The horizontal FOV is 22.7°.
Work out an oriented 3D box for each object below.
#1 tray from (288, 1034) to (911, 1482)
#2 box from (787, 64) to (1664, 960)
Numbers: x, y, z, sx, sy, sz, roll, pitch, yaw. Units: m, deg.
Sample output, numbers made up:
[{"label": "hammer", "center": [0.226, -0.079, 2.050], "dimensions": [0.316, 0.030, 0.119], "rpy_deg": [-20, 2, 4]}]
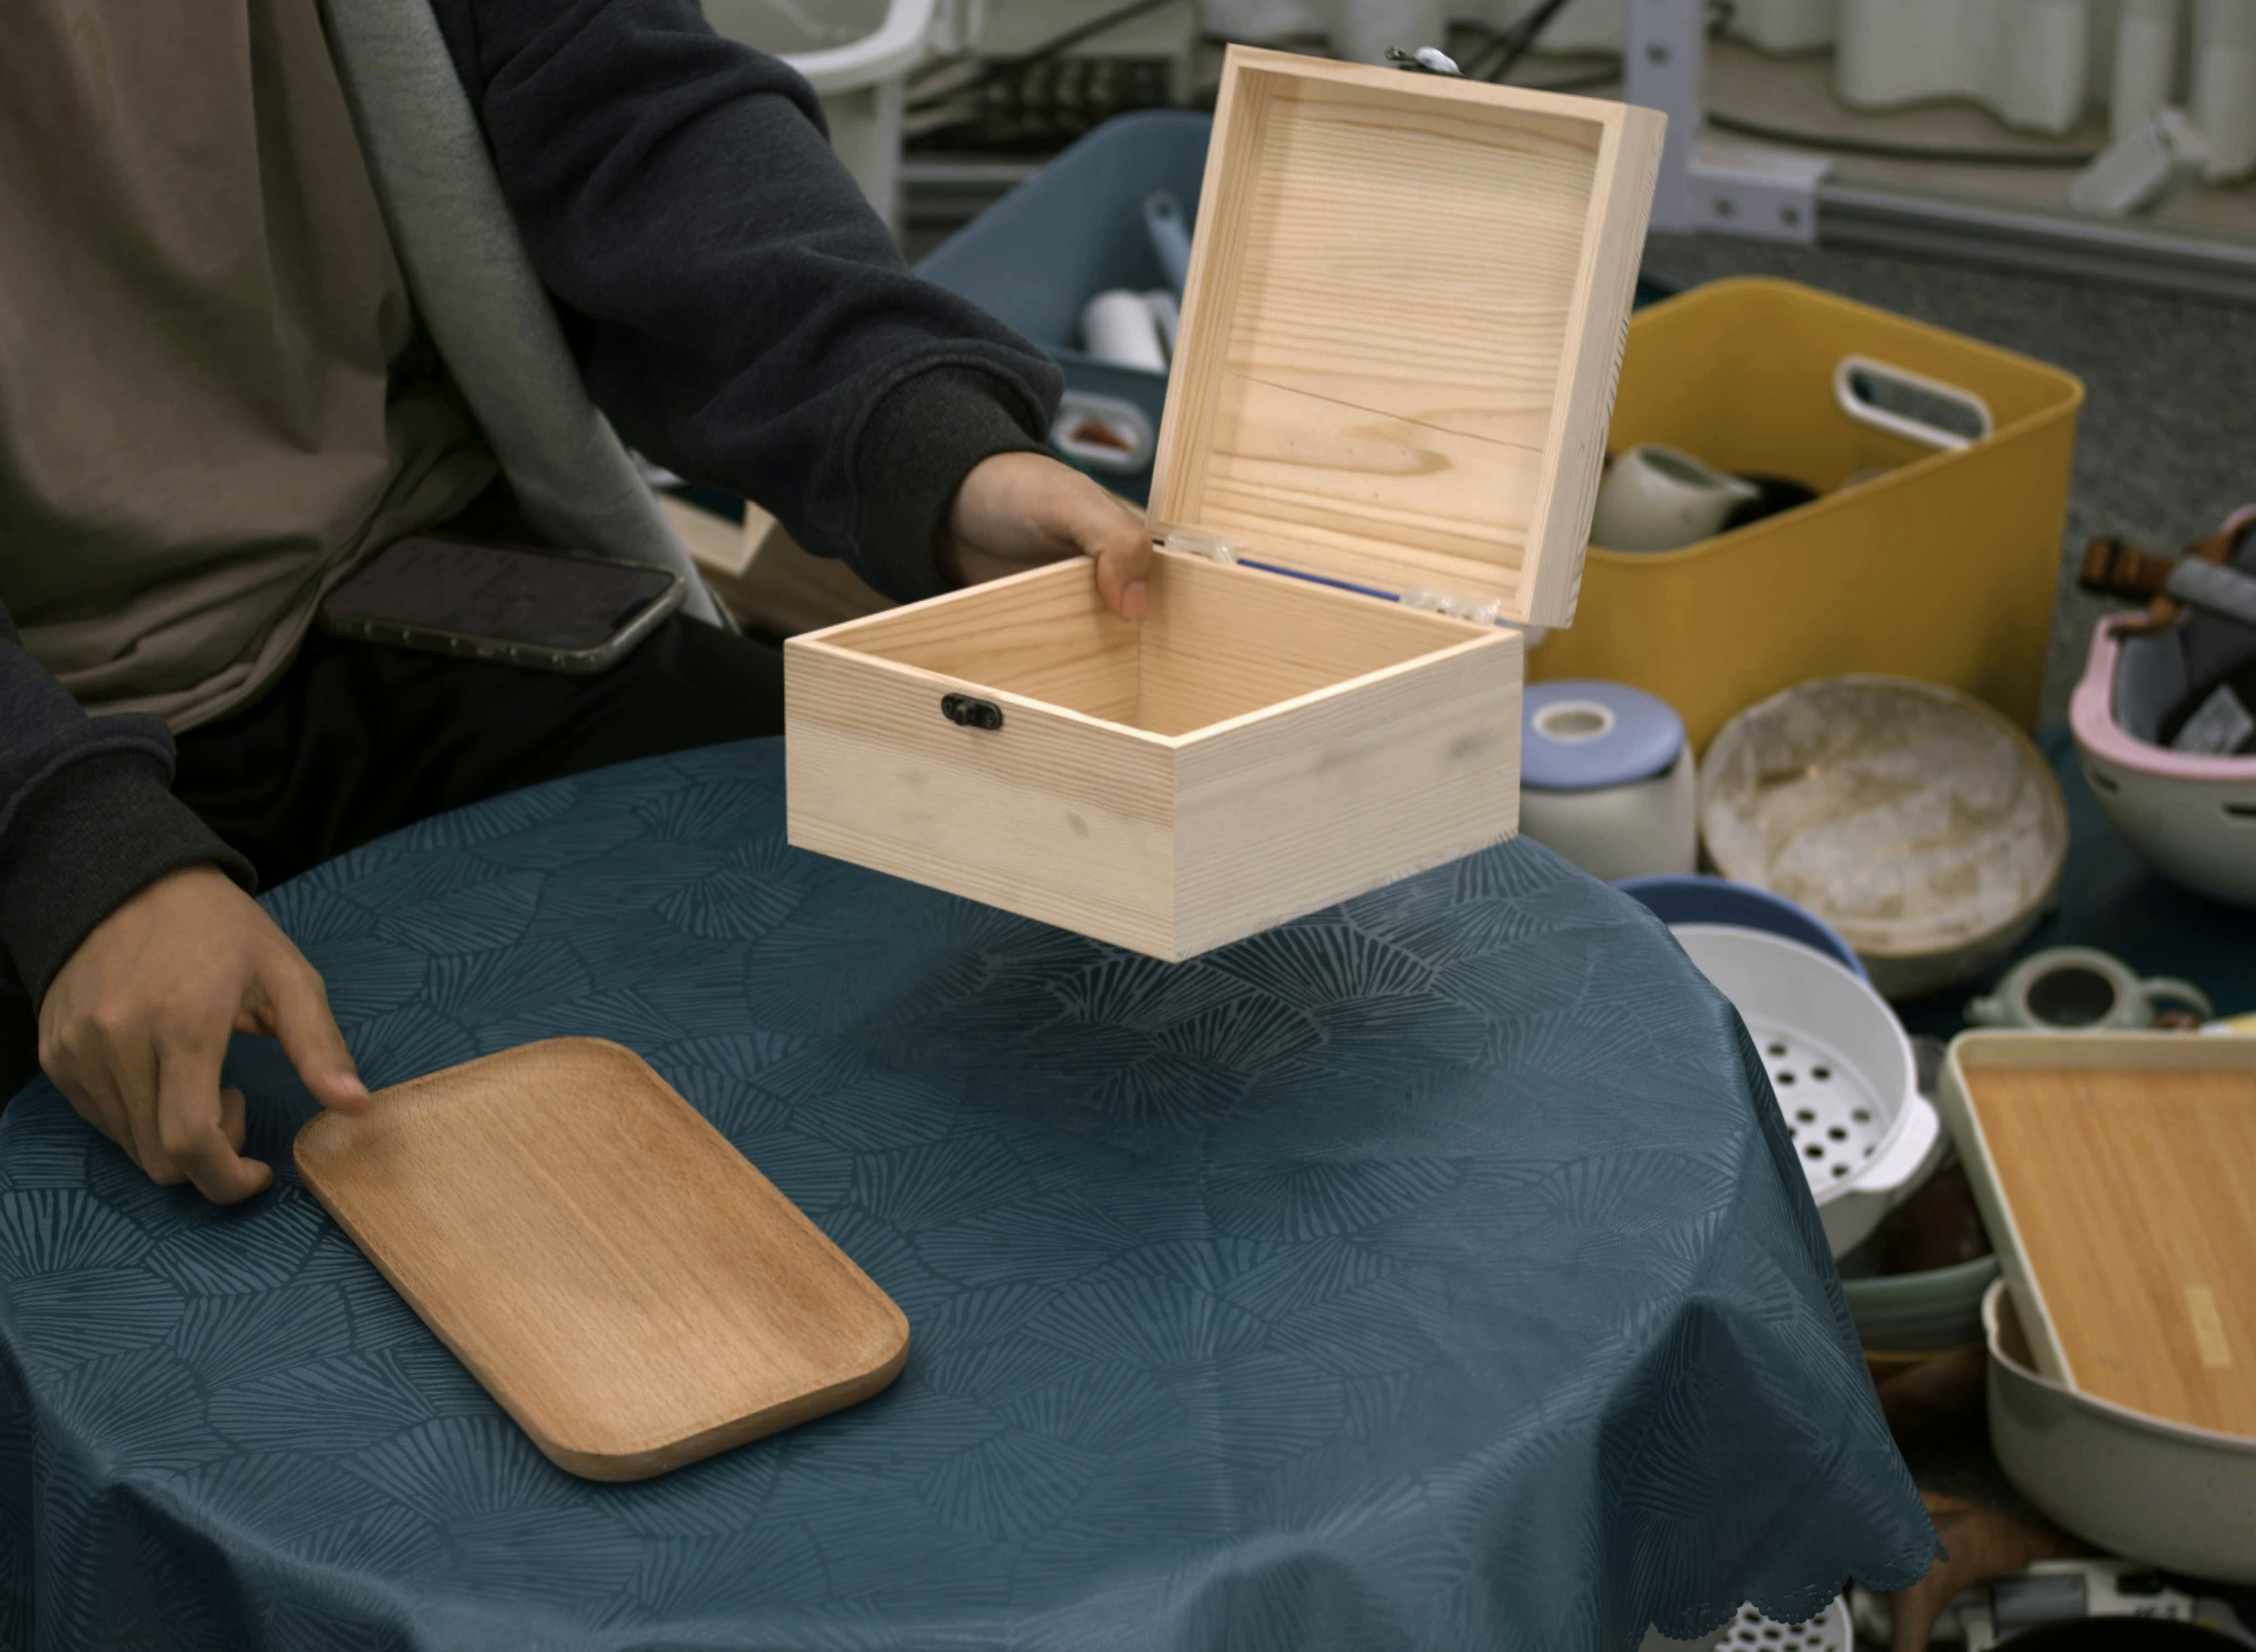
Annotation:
[{"label": "tray", "center": [-0.175, 0.138, 1.829], "dimensions": [0.131, 0.022, 0.252], "rpy_deg": [-14, 29, -26]}, {"label": "box", "center": [0.033, -0.118, 1.937], "dimensions": [0.181, 0.252, 0.267], "rpy_deg": [11, 18, 40]}]
